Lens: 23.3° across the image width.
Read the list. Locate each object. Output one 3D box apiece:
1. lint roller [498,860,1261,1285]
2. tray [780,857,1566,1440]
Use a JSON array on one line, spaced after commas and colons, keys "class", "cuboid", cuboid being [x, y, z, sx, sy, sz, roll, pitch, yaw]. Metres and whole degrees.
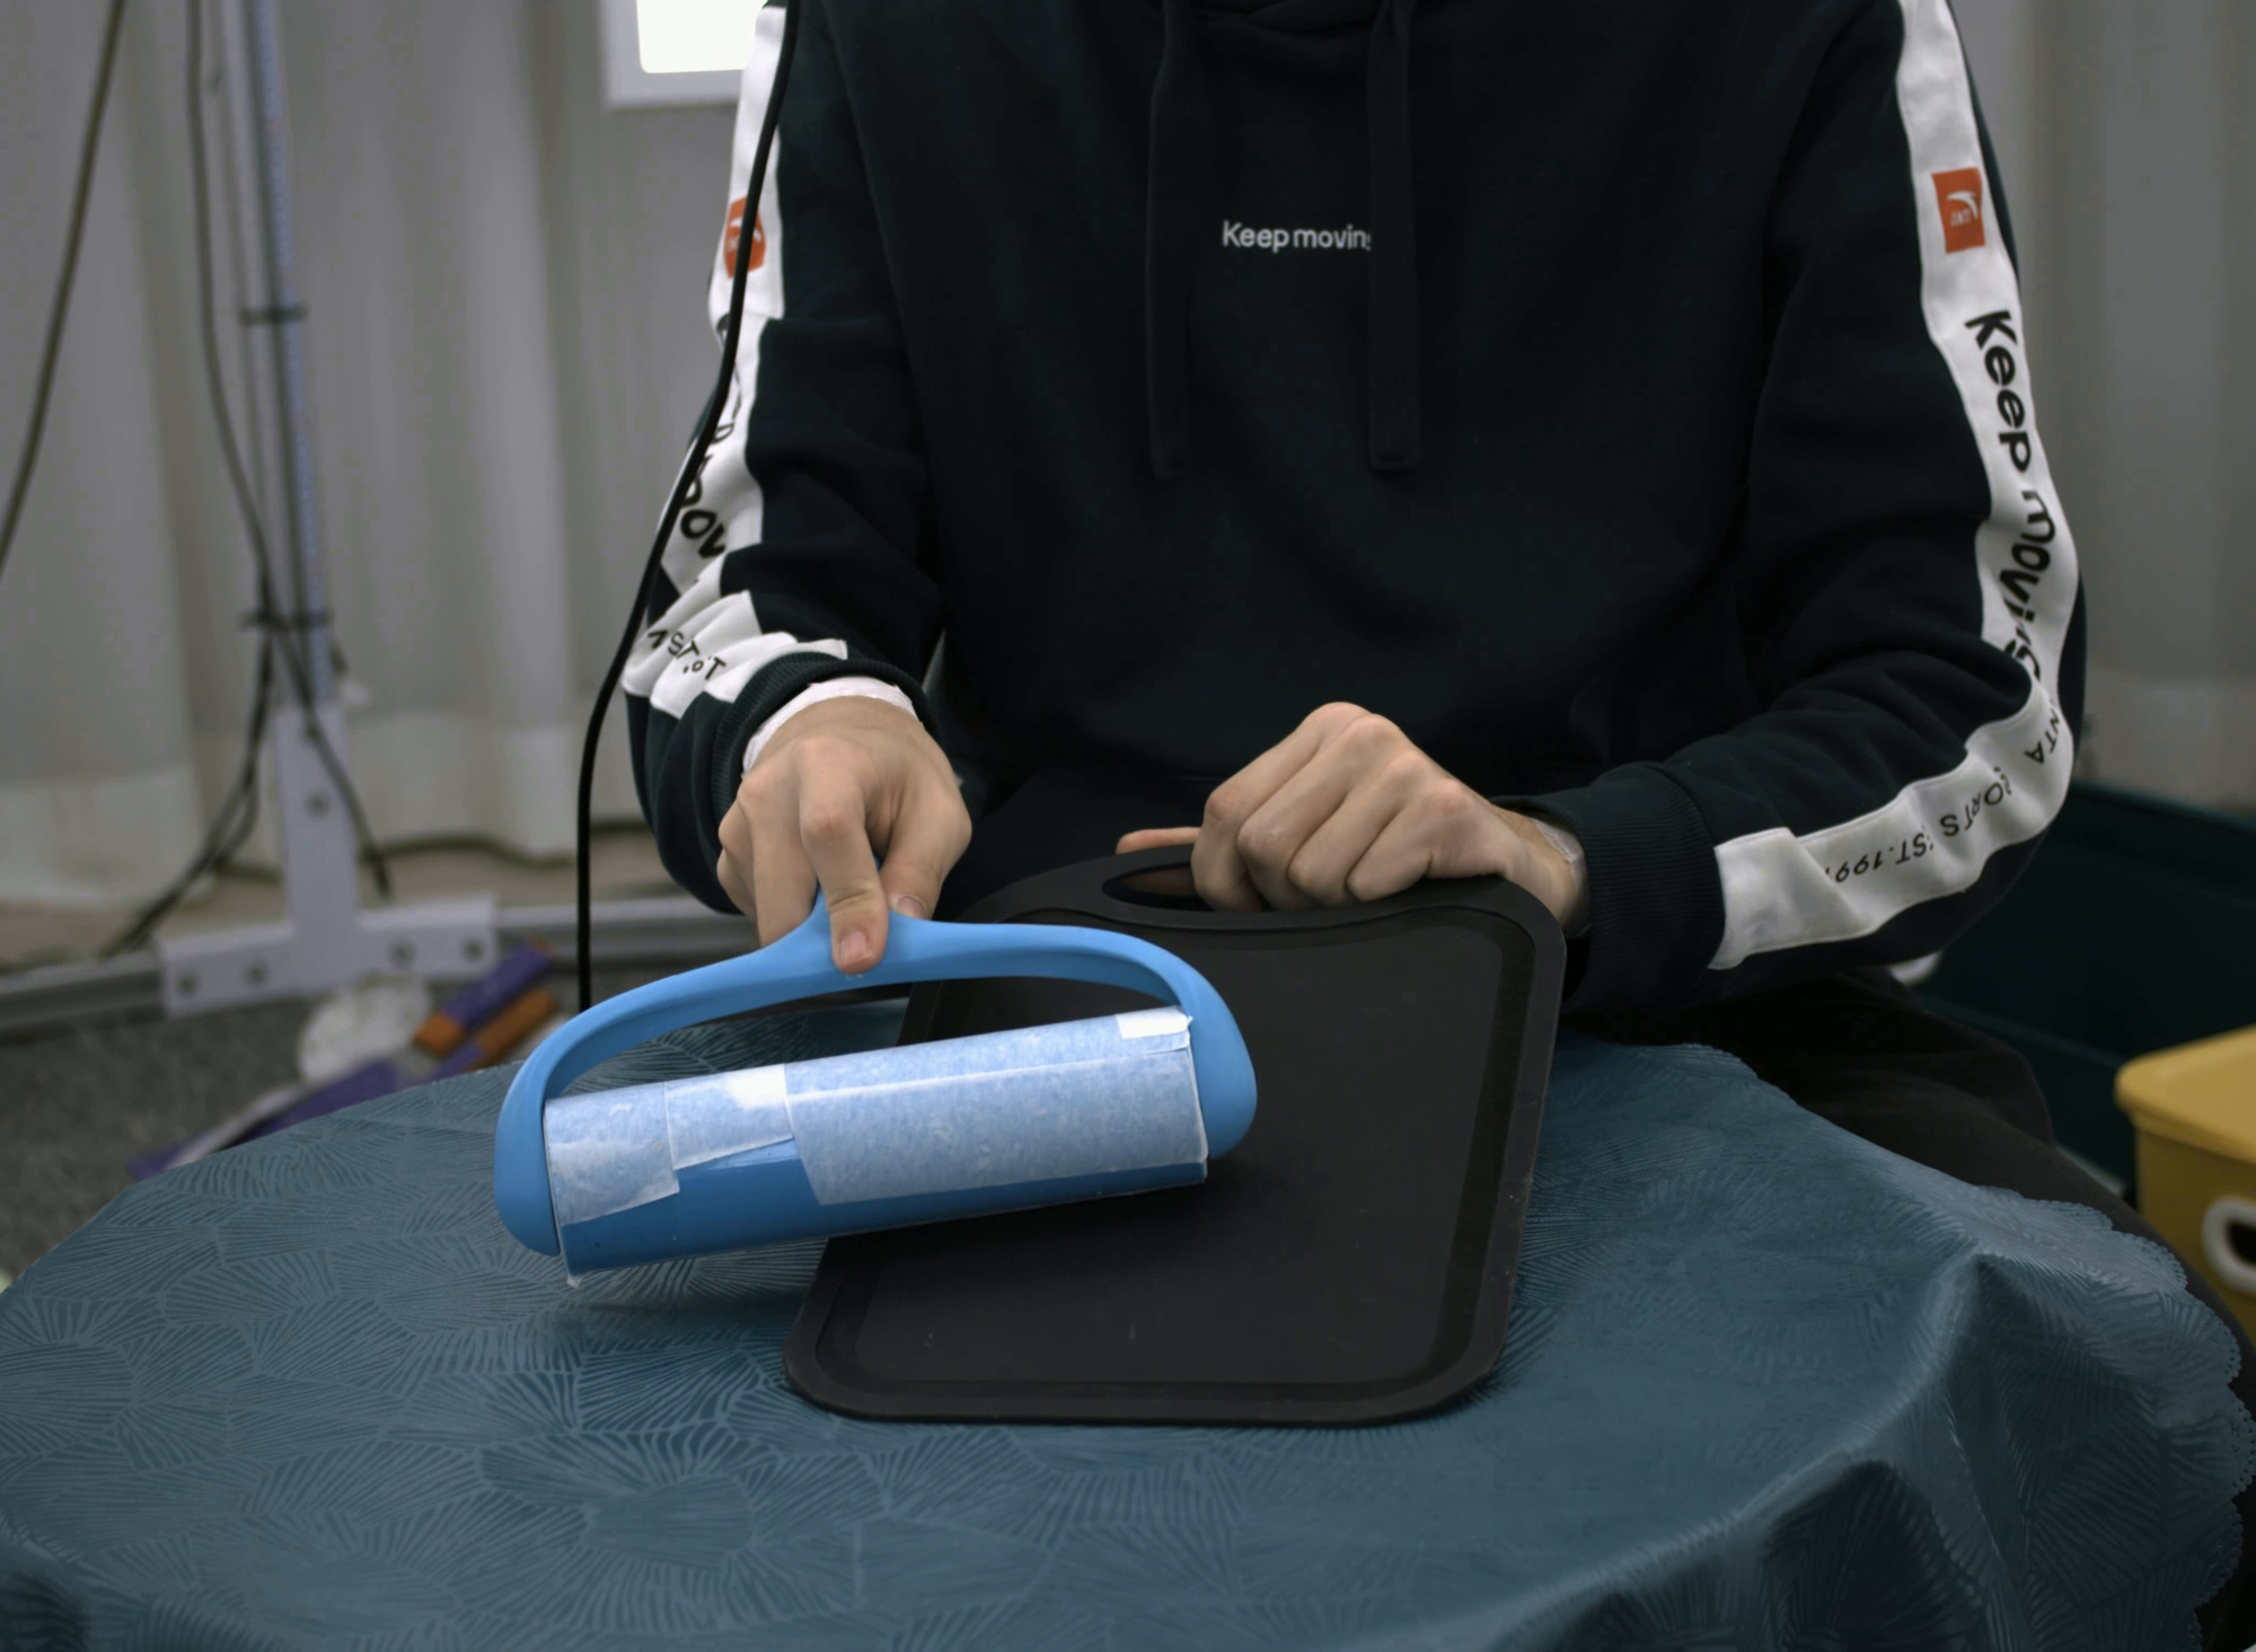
[{"class": "lint roller", "cuboid": [-0.084, 0.055, 1.669, 0.228, 0.067, 0.183, -11, 41, -3]}, {"class": "tray", "cuboid": [0.020, 0.089, 1.659, 0.211, 0.010, 0.329, -1, 29, 11]}]
